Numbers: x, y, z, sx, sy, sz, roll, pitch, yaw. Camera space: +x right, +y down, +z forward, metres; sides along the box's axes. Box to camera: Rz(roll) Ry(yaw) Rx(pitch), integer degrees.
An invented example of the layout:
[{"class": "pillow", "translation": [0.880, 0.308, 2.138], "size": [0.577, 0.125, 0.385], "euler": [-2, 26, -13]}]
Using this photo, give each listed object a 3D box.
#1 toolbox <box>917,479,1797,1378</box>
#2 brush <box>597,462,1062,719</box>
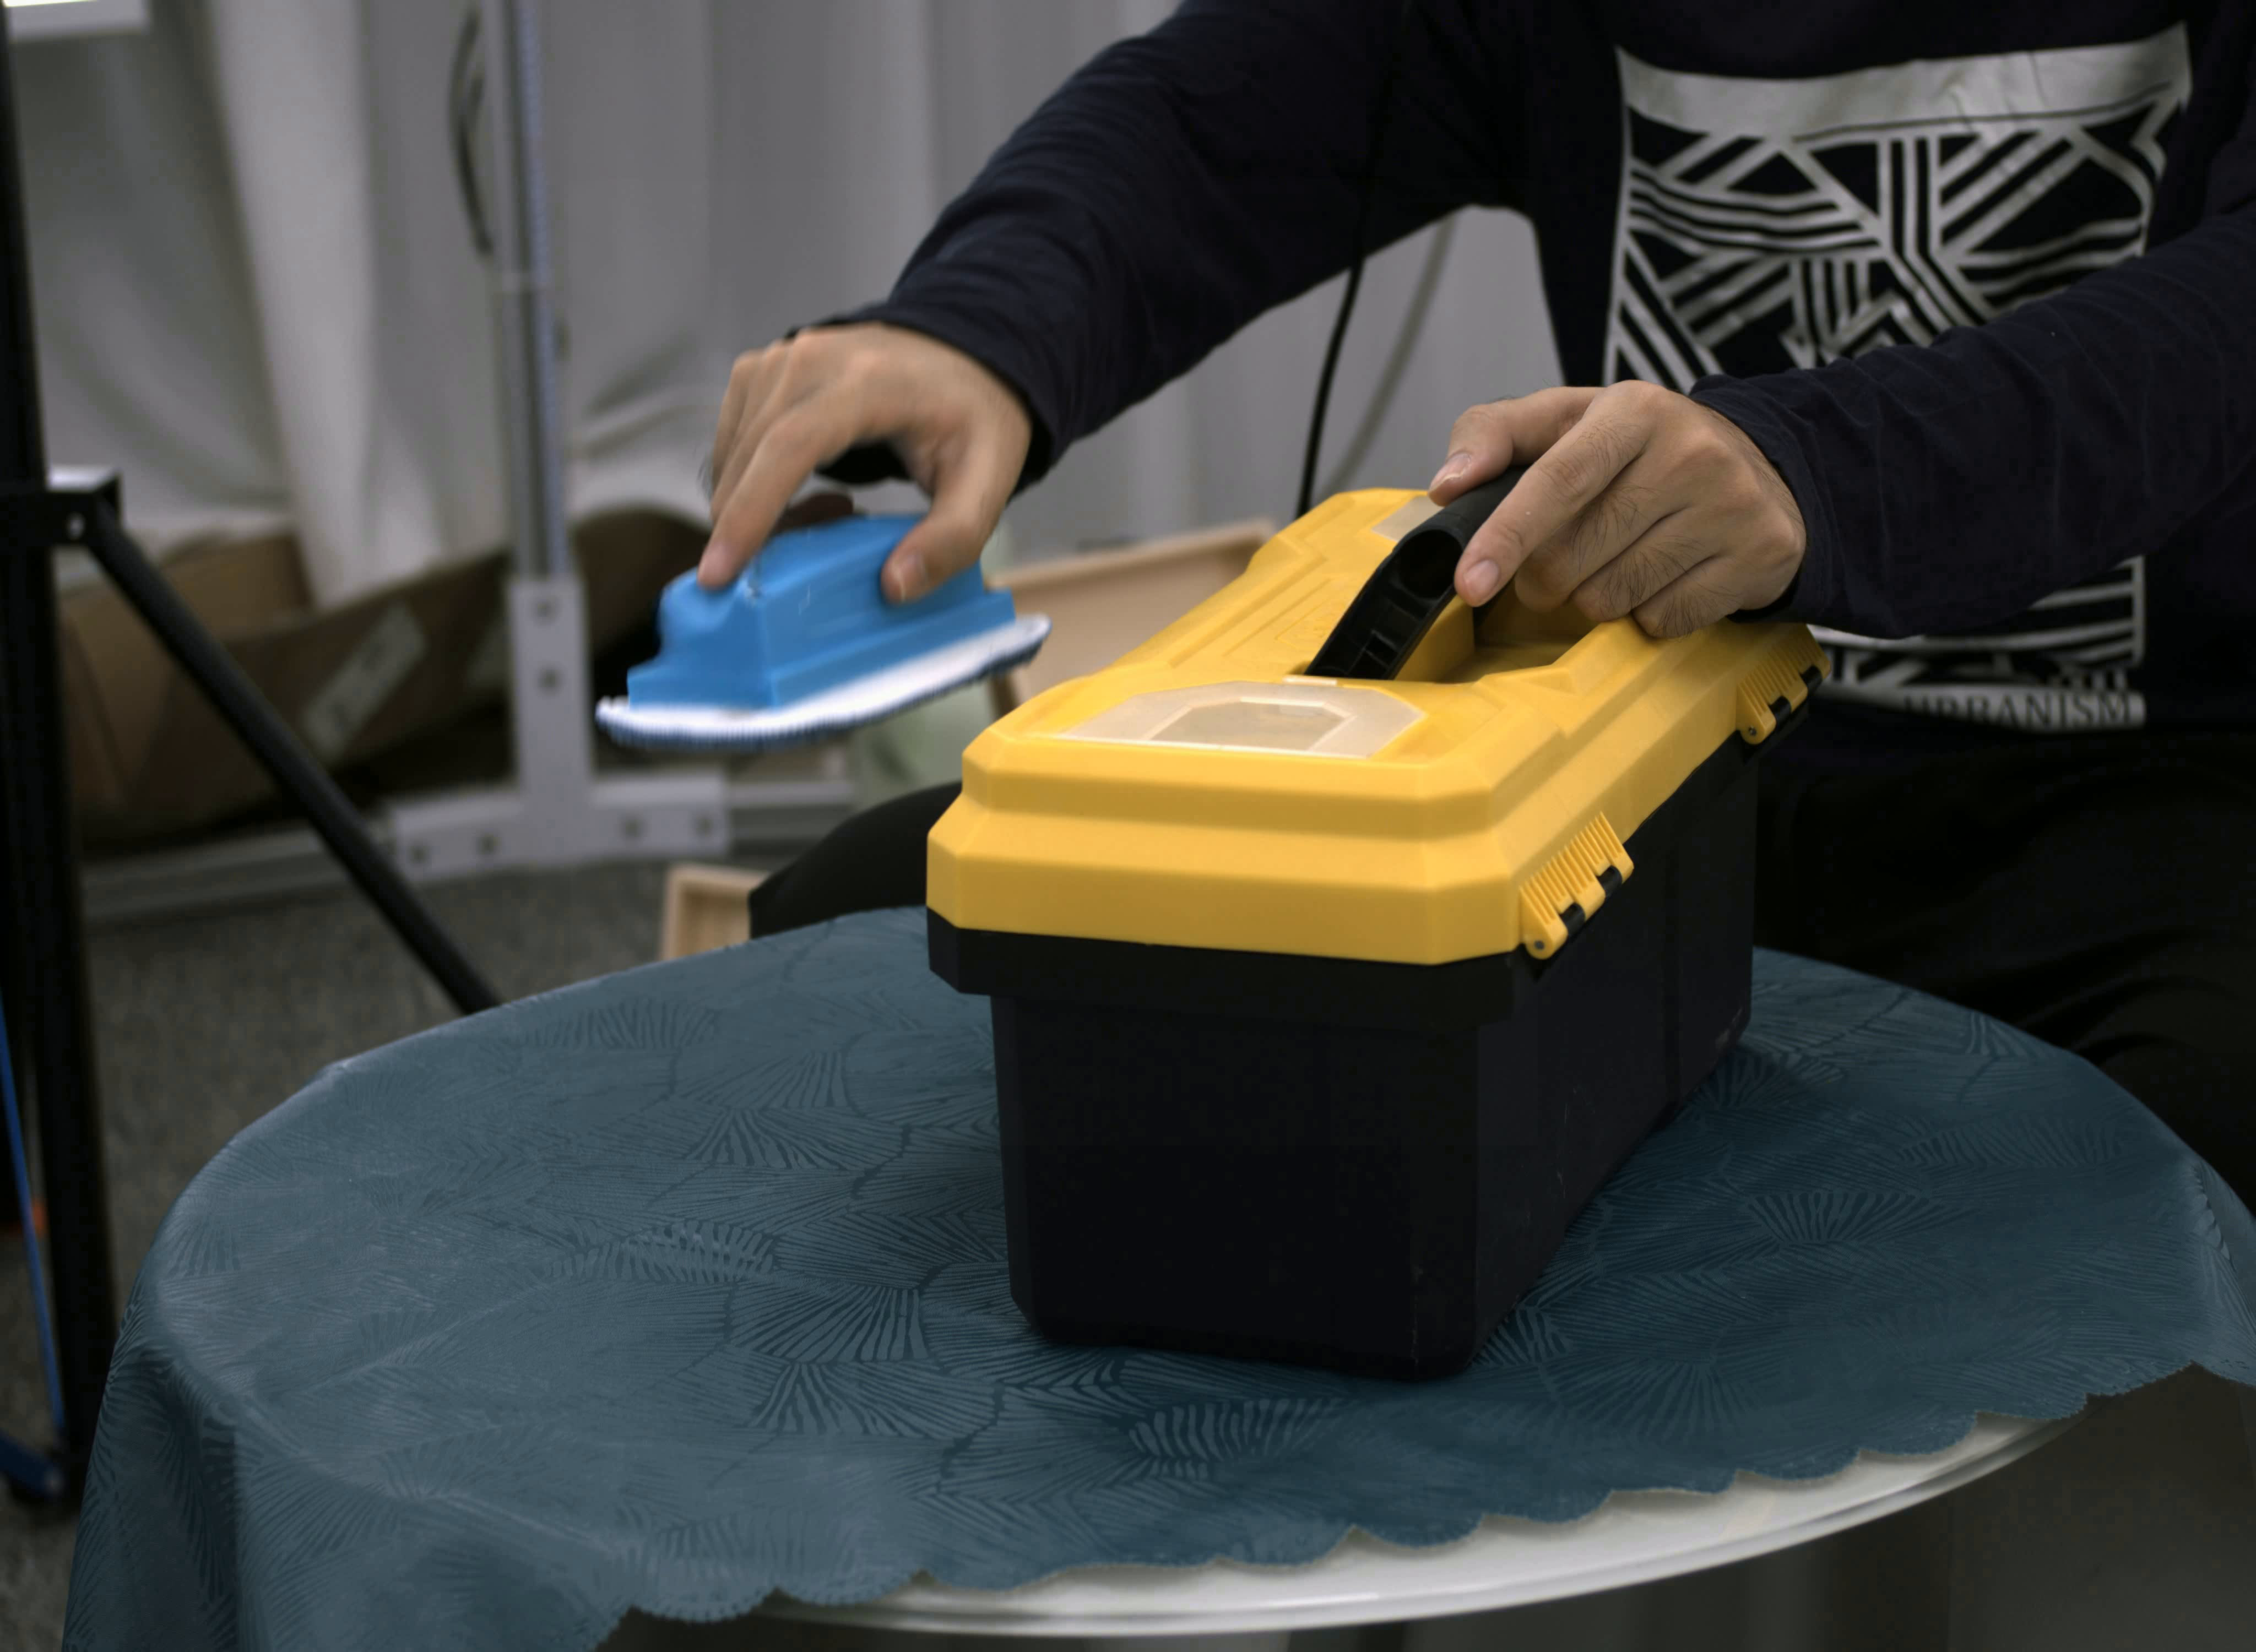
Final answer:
[{"class": "toolbox", "translation": [0.077, 0.020, 1.540], "size": [0.183, 0.173, 0.347], "euler": [4, 17, 20]}, {"class": "brush", "translation": [-0.088, -0.072, 1.578], "size": [0.085, 0.056, 0.141], "euler": [7, 20, 37]}]
